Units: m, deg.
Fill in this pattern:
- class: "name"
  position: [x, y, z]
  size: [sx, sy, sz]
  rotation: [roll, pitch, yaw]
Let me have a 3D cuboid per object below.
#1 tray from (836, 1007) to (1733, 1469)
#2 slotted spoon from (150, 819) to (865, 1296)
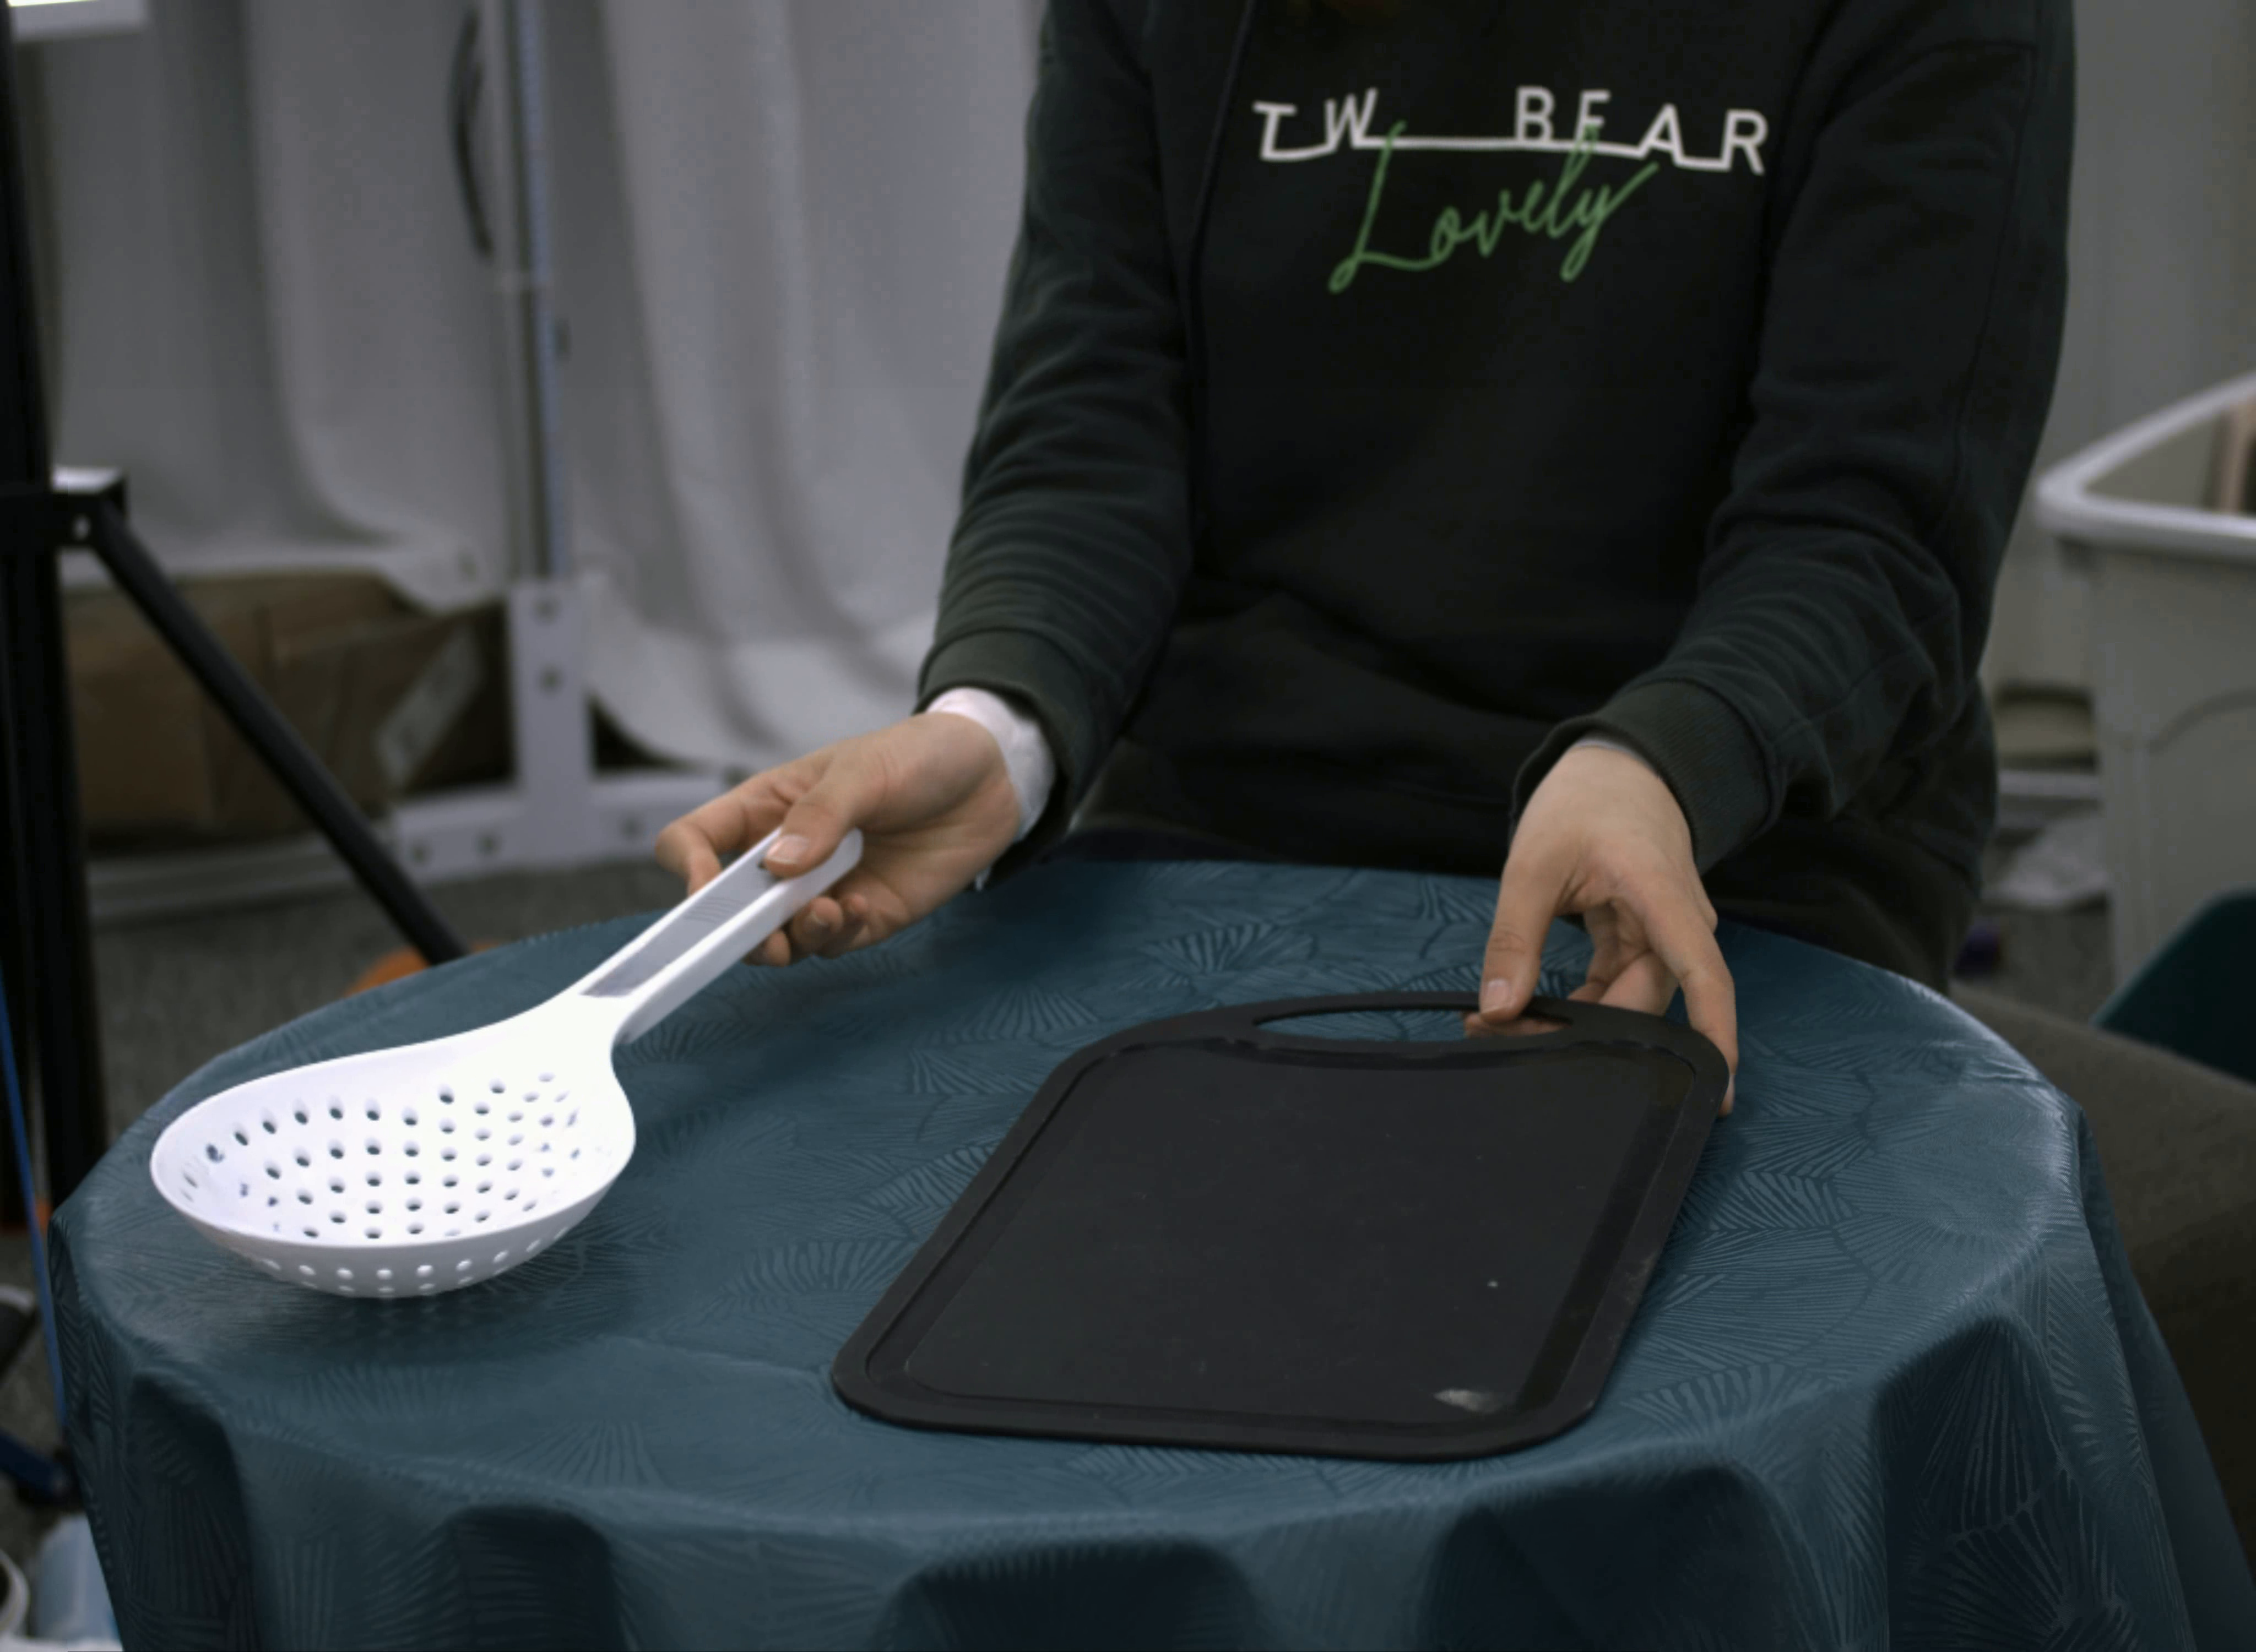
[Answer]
- class: "tray"
  position: [0.053, 0.108, 1.511]
  size: [0.213, 0.010, 0.323]
  rotation: [2, 19, 16]
- class: "slotted spoon"
  position: [-0.166, 0.061, 1.604]
  size: [0.138, 0.045, 0.346]
  rotation: [8, 27, 22]
